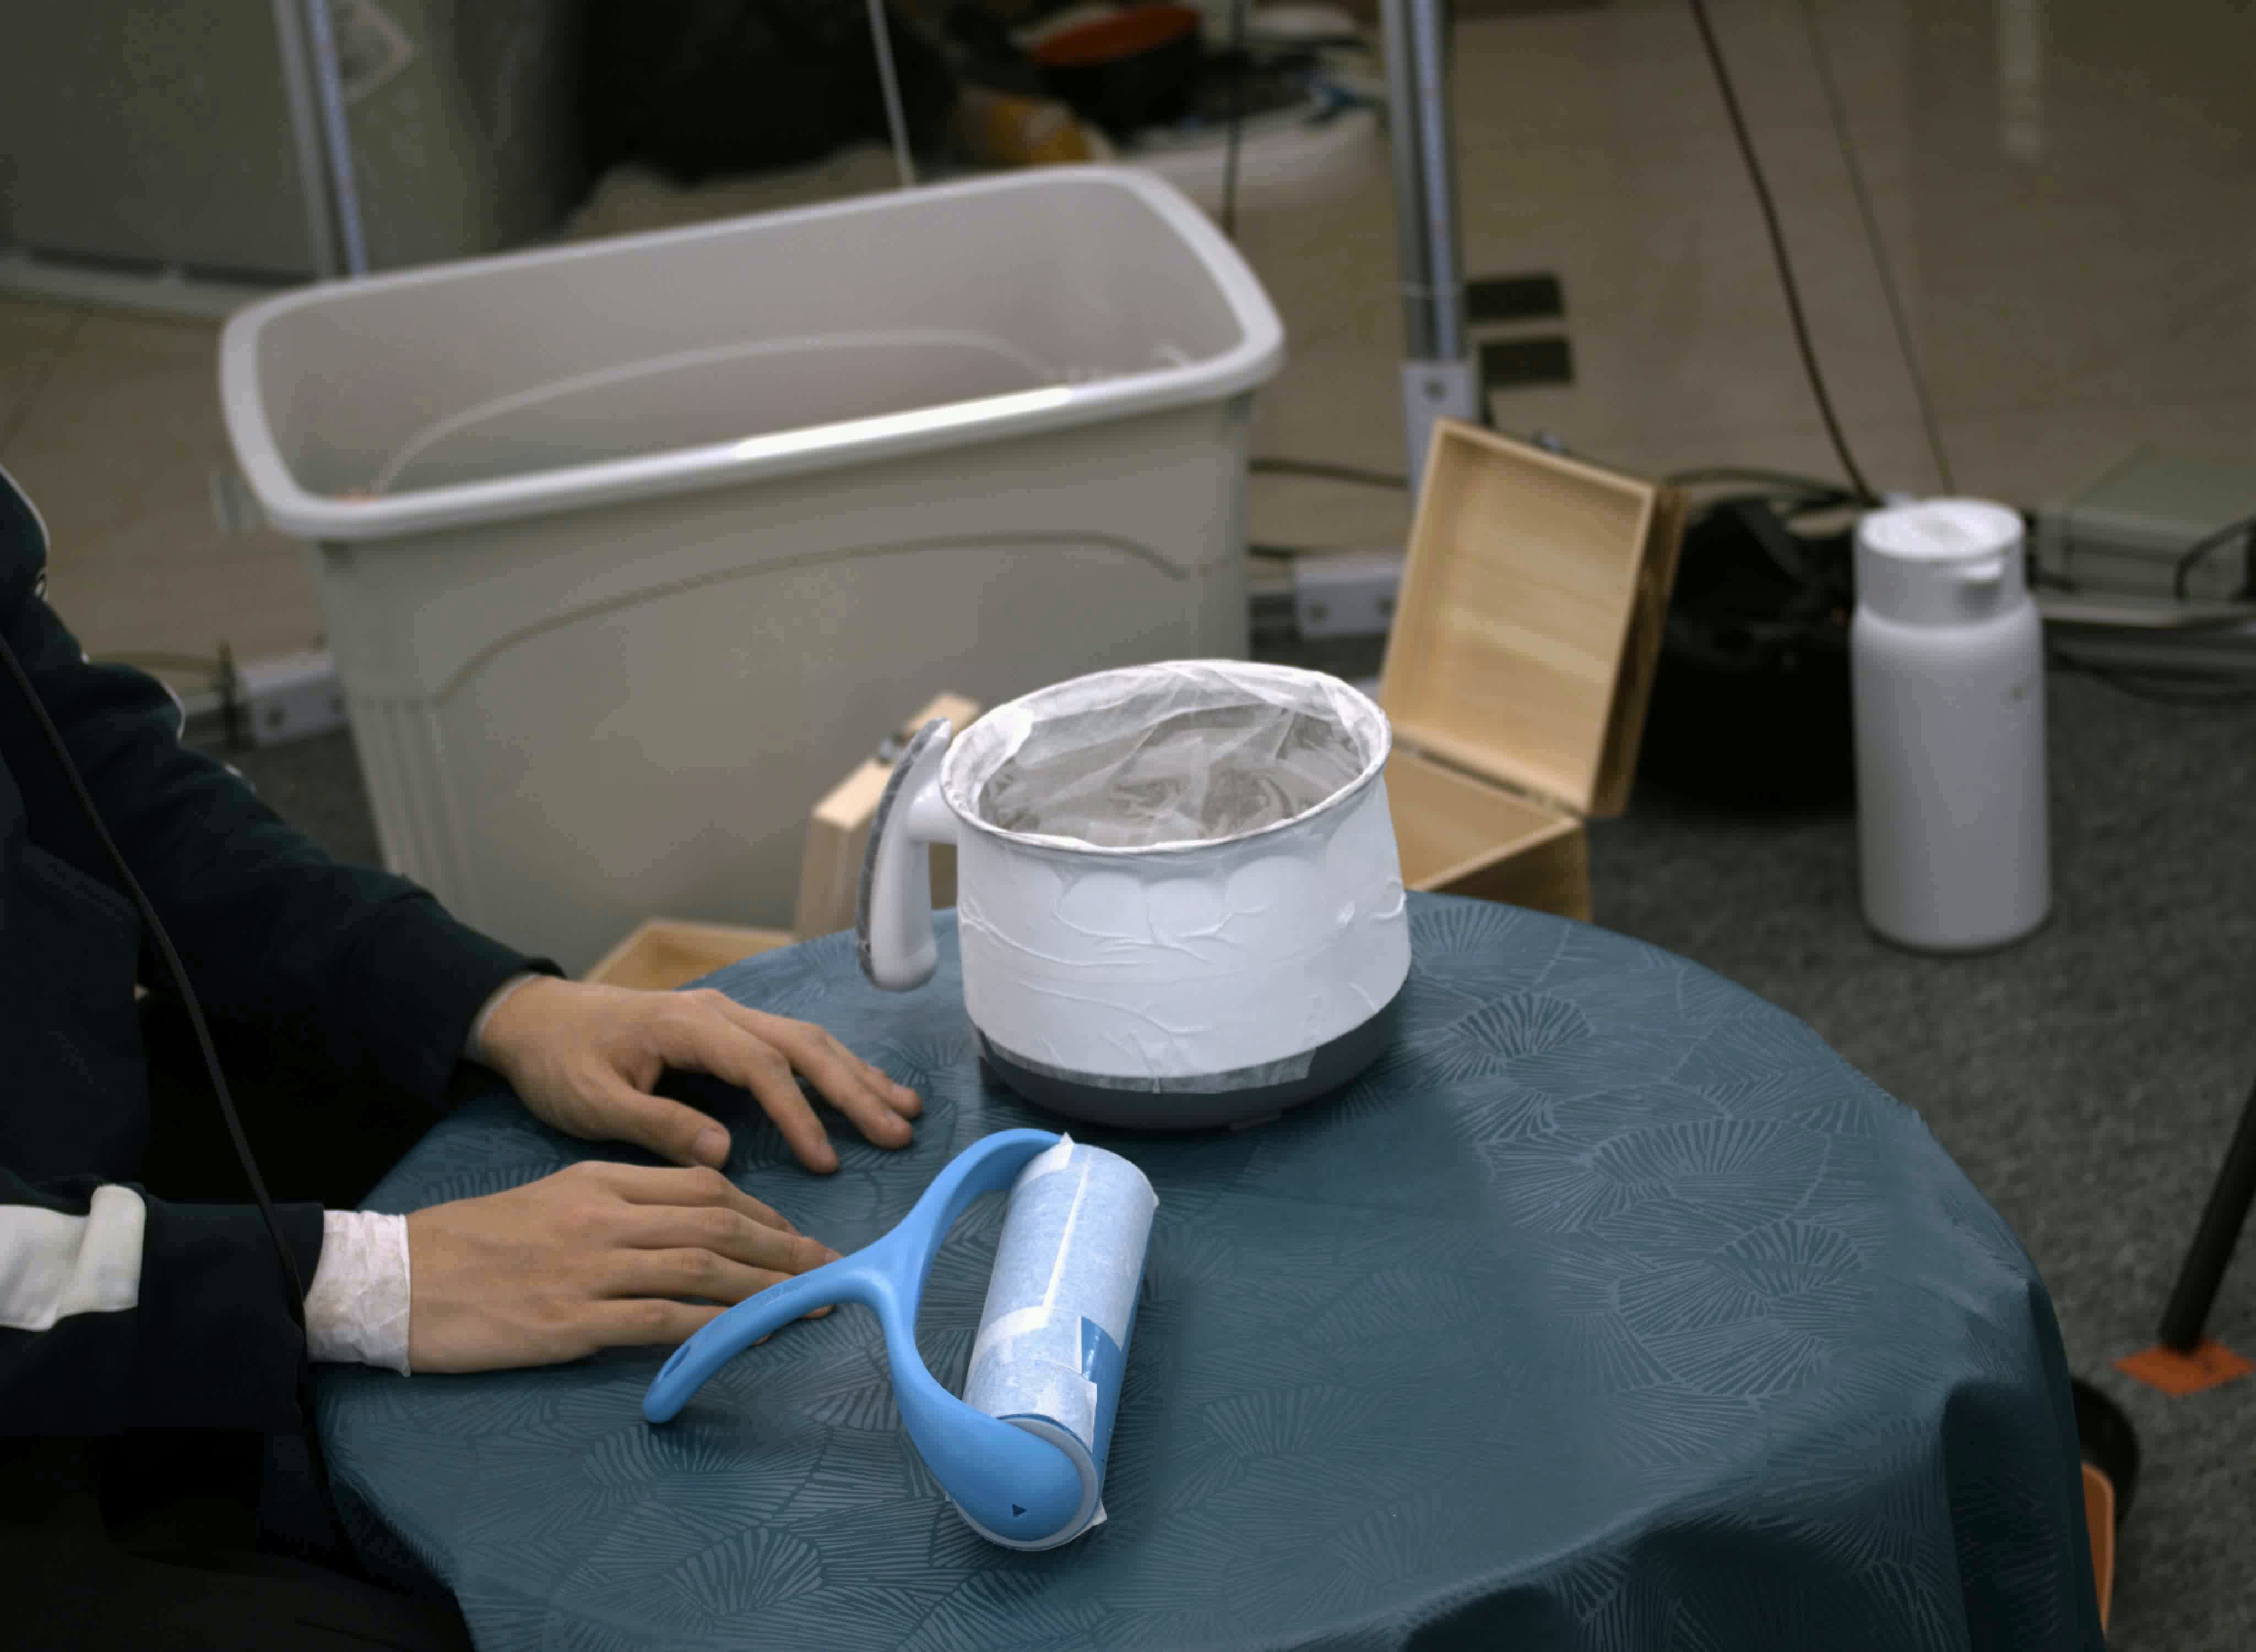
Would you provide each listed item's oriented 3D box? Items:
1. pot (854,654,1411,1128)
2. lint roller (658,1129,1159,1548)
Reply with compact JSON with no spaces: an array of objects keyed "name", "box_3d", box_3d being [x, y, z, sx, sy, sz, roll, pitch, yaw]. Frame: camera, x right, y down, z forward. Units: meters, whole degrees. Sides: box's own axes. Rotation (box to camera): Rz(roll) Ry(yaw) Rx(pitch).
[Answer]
[{"name":"pot","box_3d":[-0.004,0.024,2.221,0.233,0.139,0.176,8,28,24]},{"name":"lint roller","box_3d":[-0.081,0.183,2.002,0.180,0.069,0.225,-4,27,4]}]
